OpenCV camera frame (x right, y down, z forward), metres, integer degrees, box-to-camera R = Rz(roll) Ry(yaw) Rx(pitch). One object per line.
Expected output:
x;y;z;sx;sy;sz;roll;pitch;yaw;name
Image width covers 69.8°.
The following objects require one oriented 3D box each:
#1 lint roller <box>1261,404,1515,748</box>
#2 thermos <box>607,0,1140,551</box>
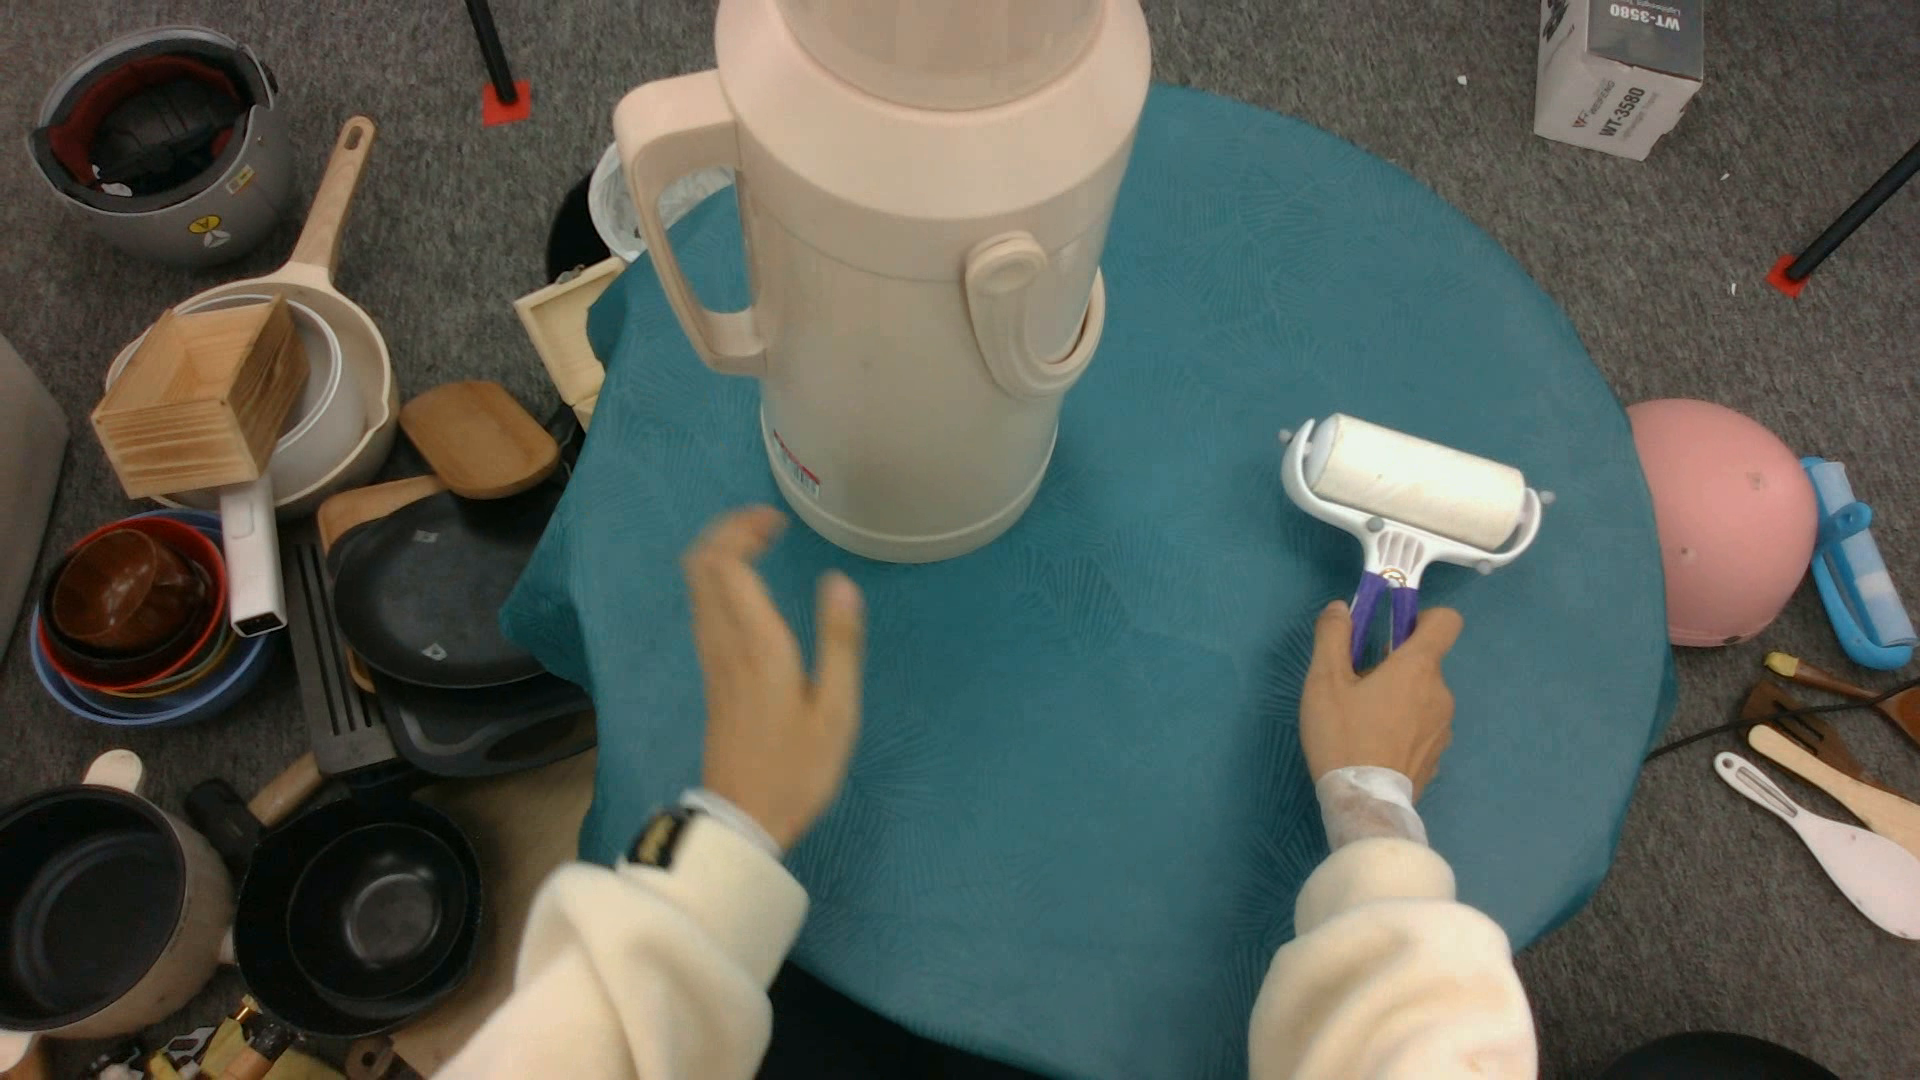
0.210;0.016;0.703;0.133;0.050;0.181;18;59;1;lint roller
-0.032;-0.143;0.581;0.207;0.404;0.175;-17;69;-11;thermos
